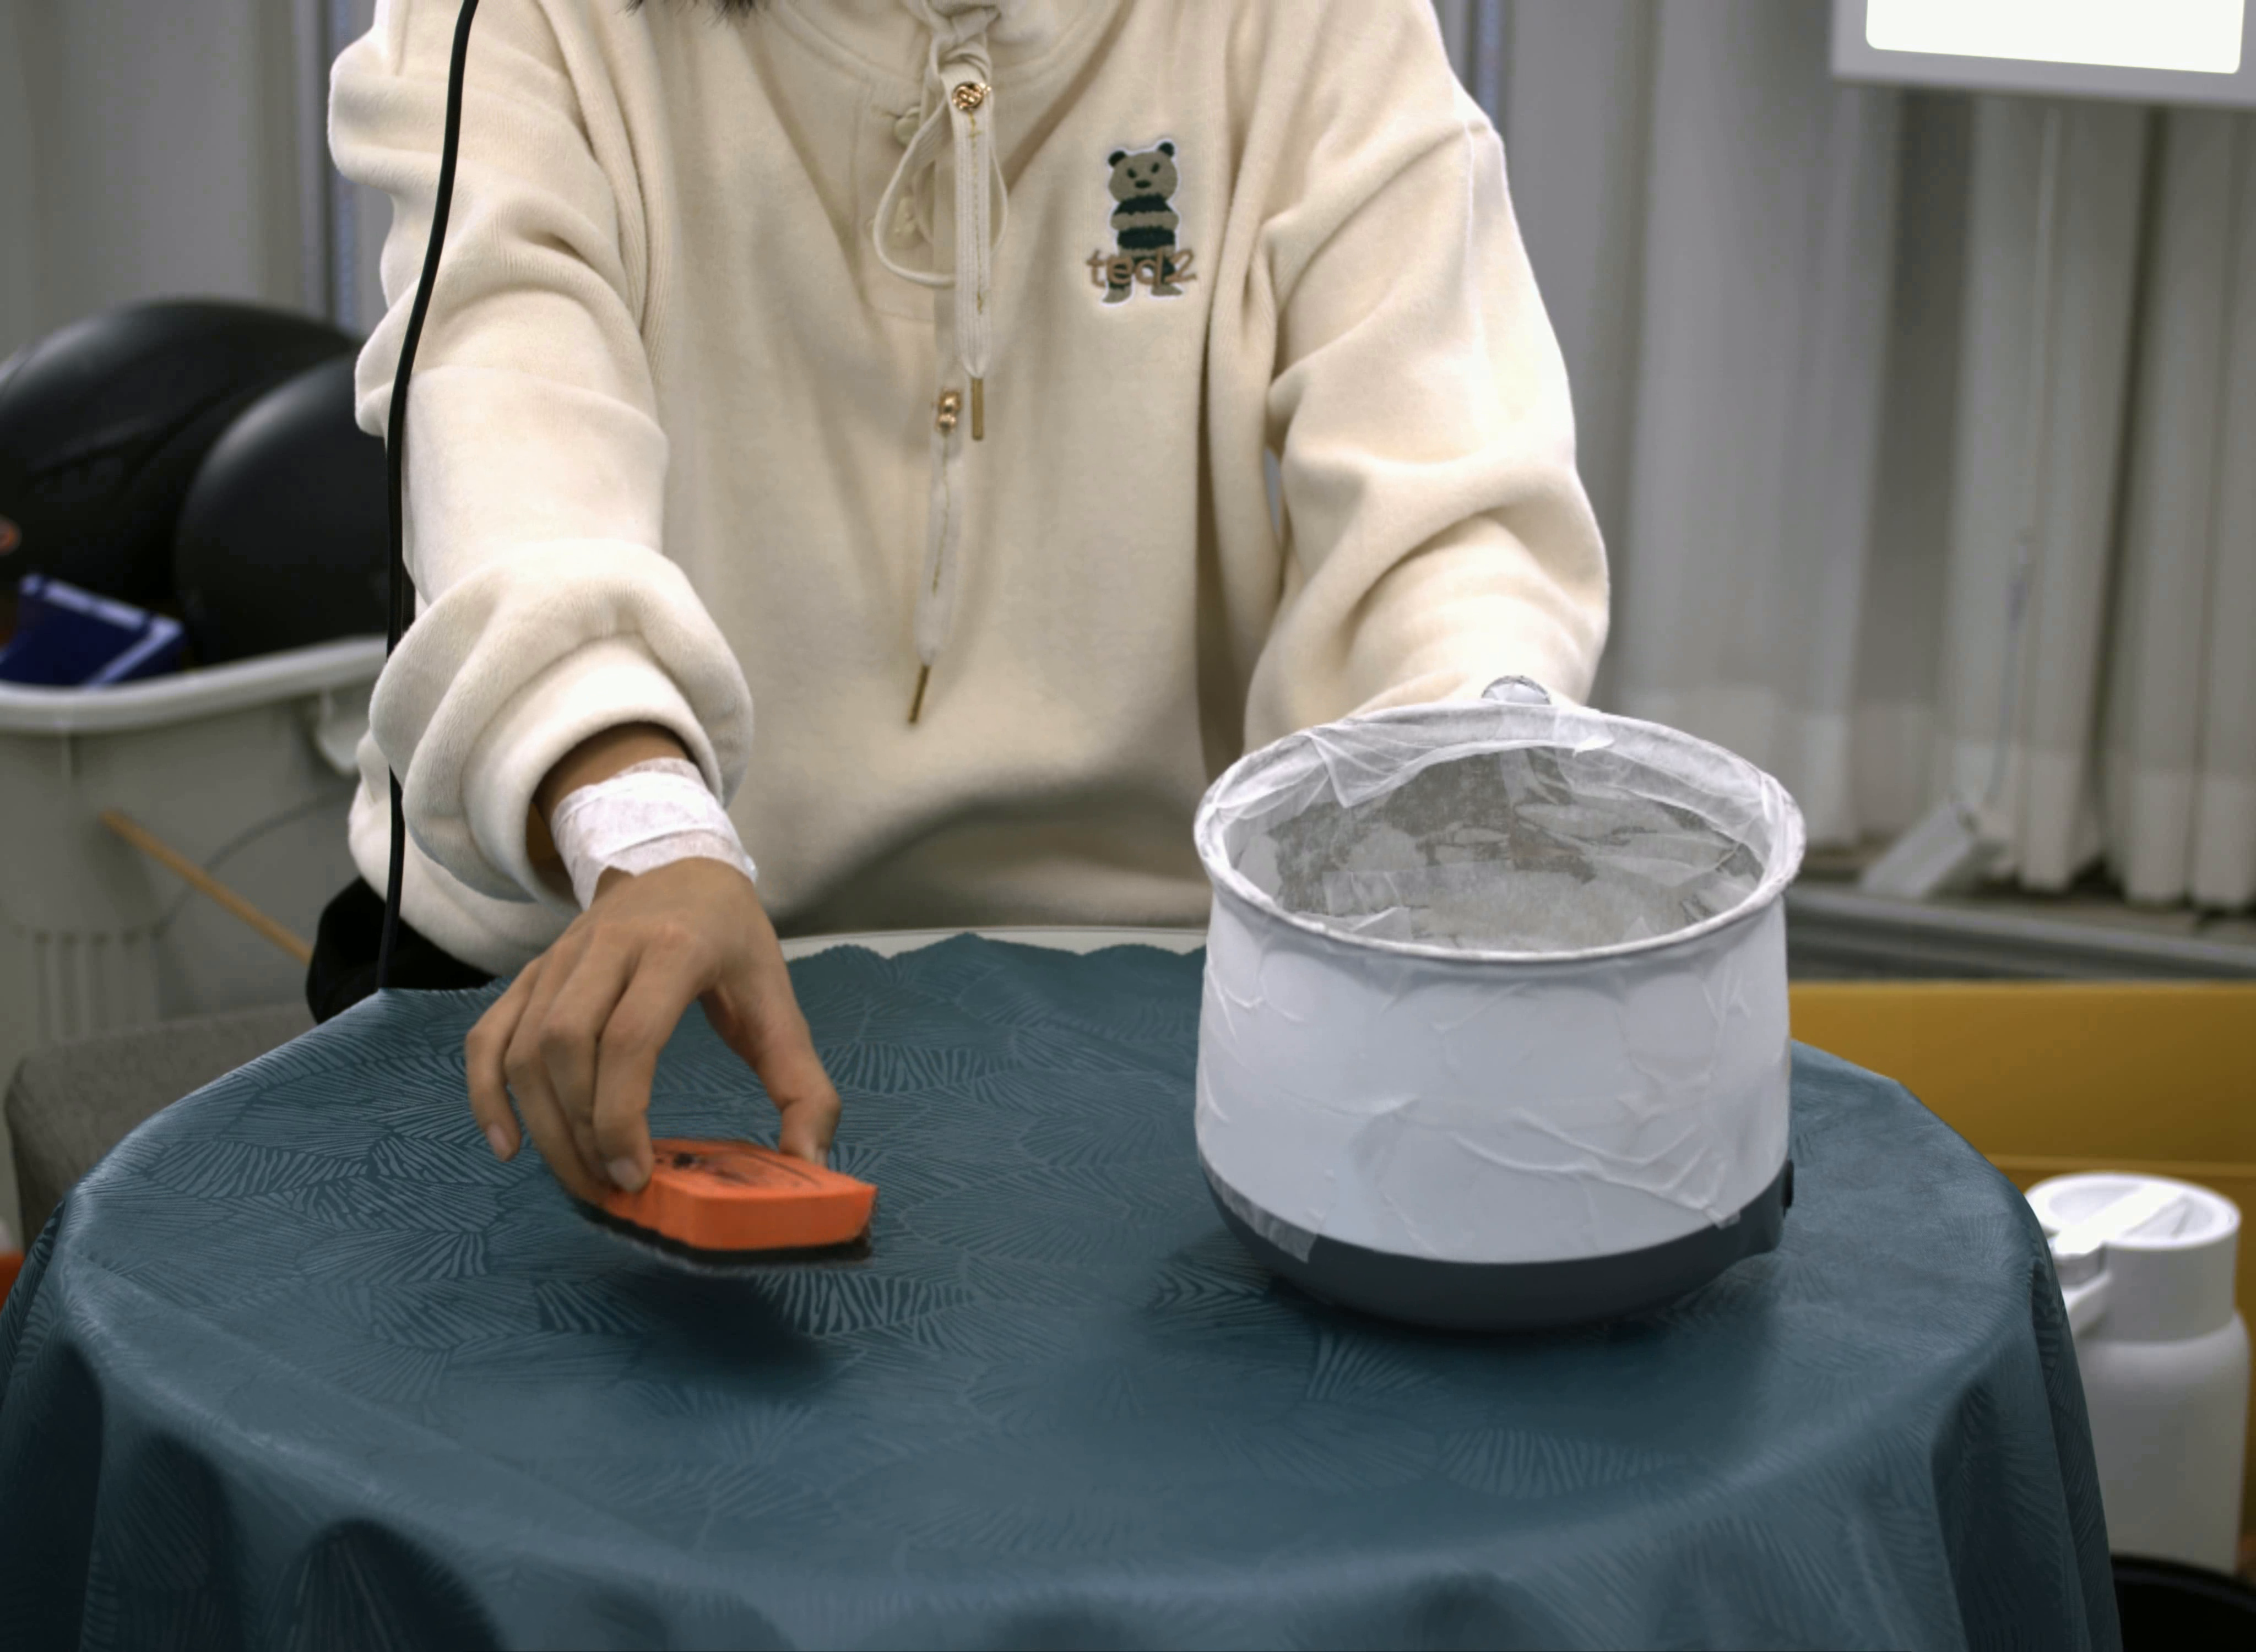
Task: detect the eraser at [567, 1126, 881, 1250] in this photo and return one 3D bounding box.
[{"bbox_3d":[-0.117,0.103,1.509,0.059,0.023,0.107,0,3,-29],"label":"eraser"}]

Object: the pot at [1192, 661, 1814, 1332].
[{"bbox_3d":[0.110,0.043,1.562,0.178,0.138,0.232,3,26,3],"label":"pot"}]
